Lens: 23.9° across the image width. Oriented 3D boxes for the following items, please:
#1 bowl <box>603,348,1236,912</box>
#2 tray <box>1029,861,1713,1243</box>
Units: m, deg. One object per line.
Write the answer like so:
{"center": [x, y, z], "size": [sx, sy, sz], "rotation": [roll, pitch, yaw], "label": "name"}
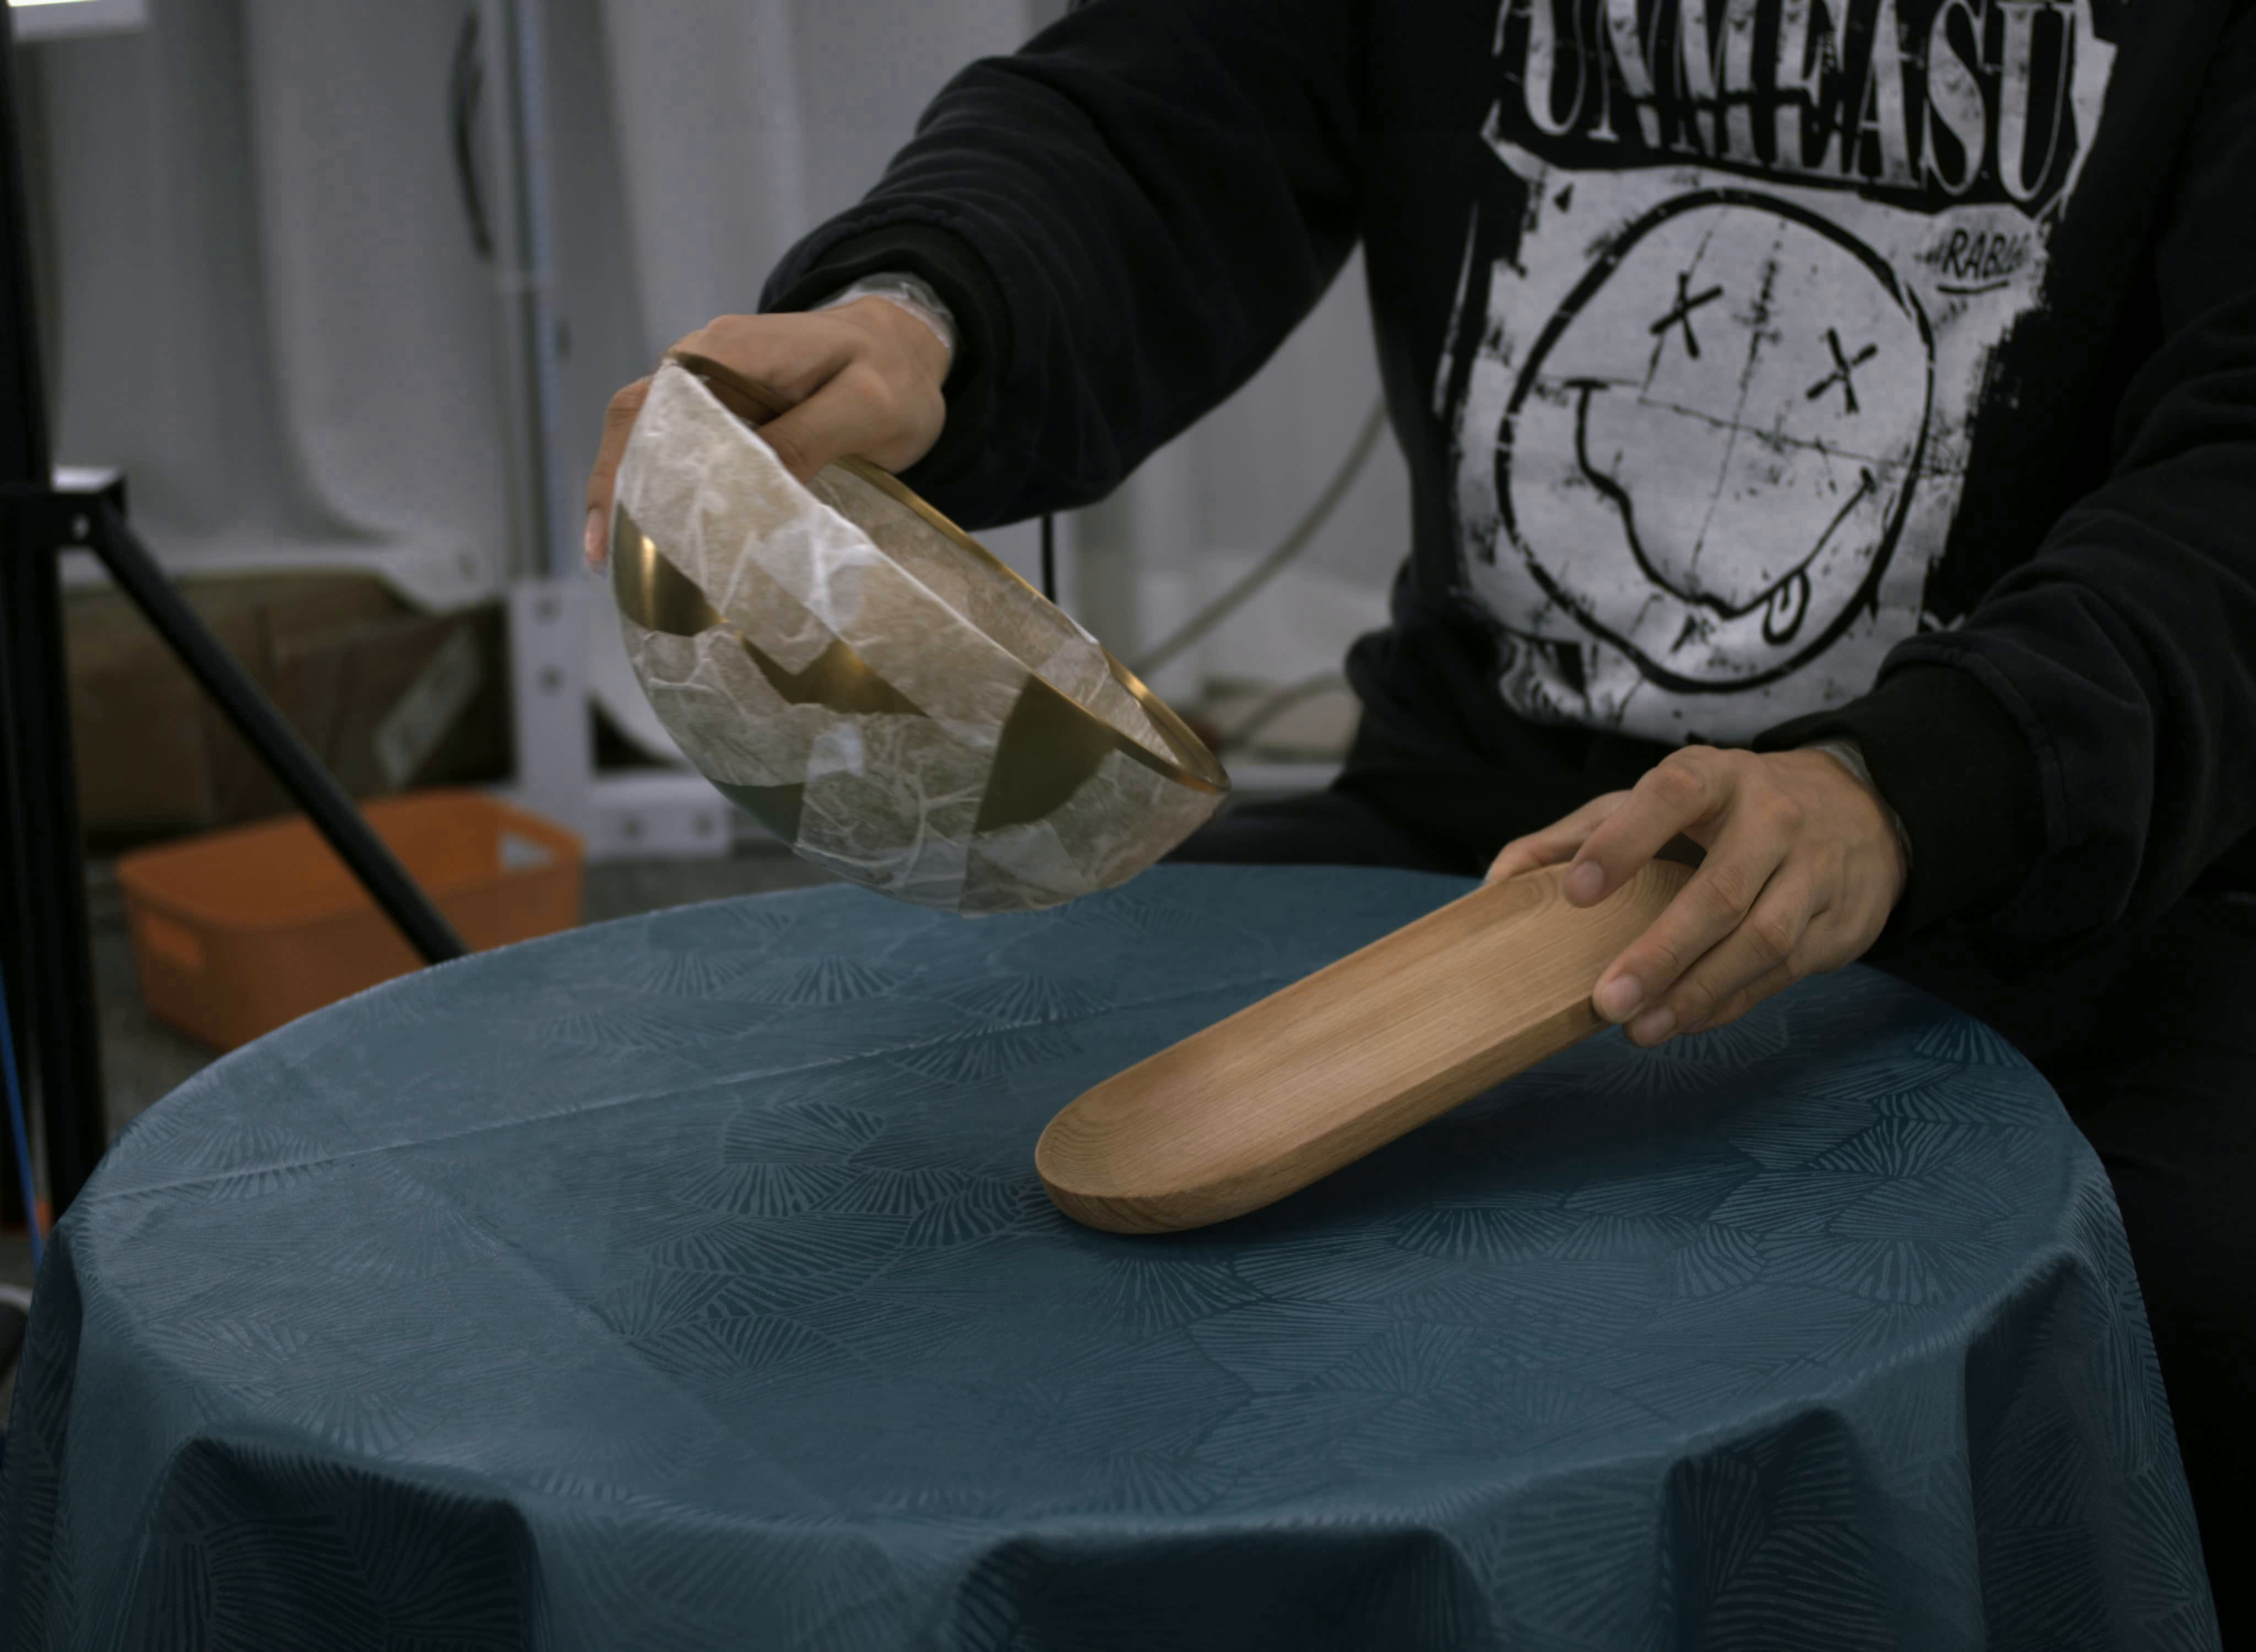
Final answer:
{"center": [-0.072, -0.038, 1.528], "size": [0.213, 0.095, 0.215], "rotation": [36, 6, -7], "label": "bowl"}
{"center": [0.074, 0.066, 1.570], "size": [0.228, 0.020, 0.104], "rotation": [-28, 21, -23], "label": "tray"}
